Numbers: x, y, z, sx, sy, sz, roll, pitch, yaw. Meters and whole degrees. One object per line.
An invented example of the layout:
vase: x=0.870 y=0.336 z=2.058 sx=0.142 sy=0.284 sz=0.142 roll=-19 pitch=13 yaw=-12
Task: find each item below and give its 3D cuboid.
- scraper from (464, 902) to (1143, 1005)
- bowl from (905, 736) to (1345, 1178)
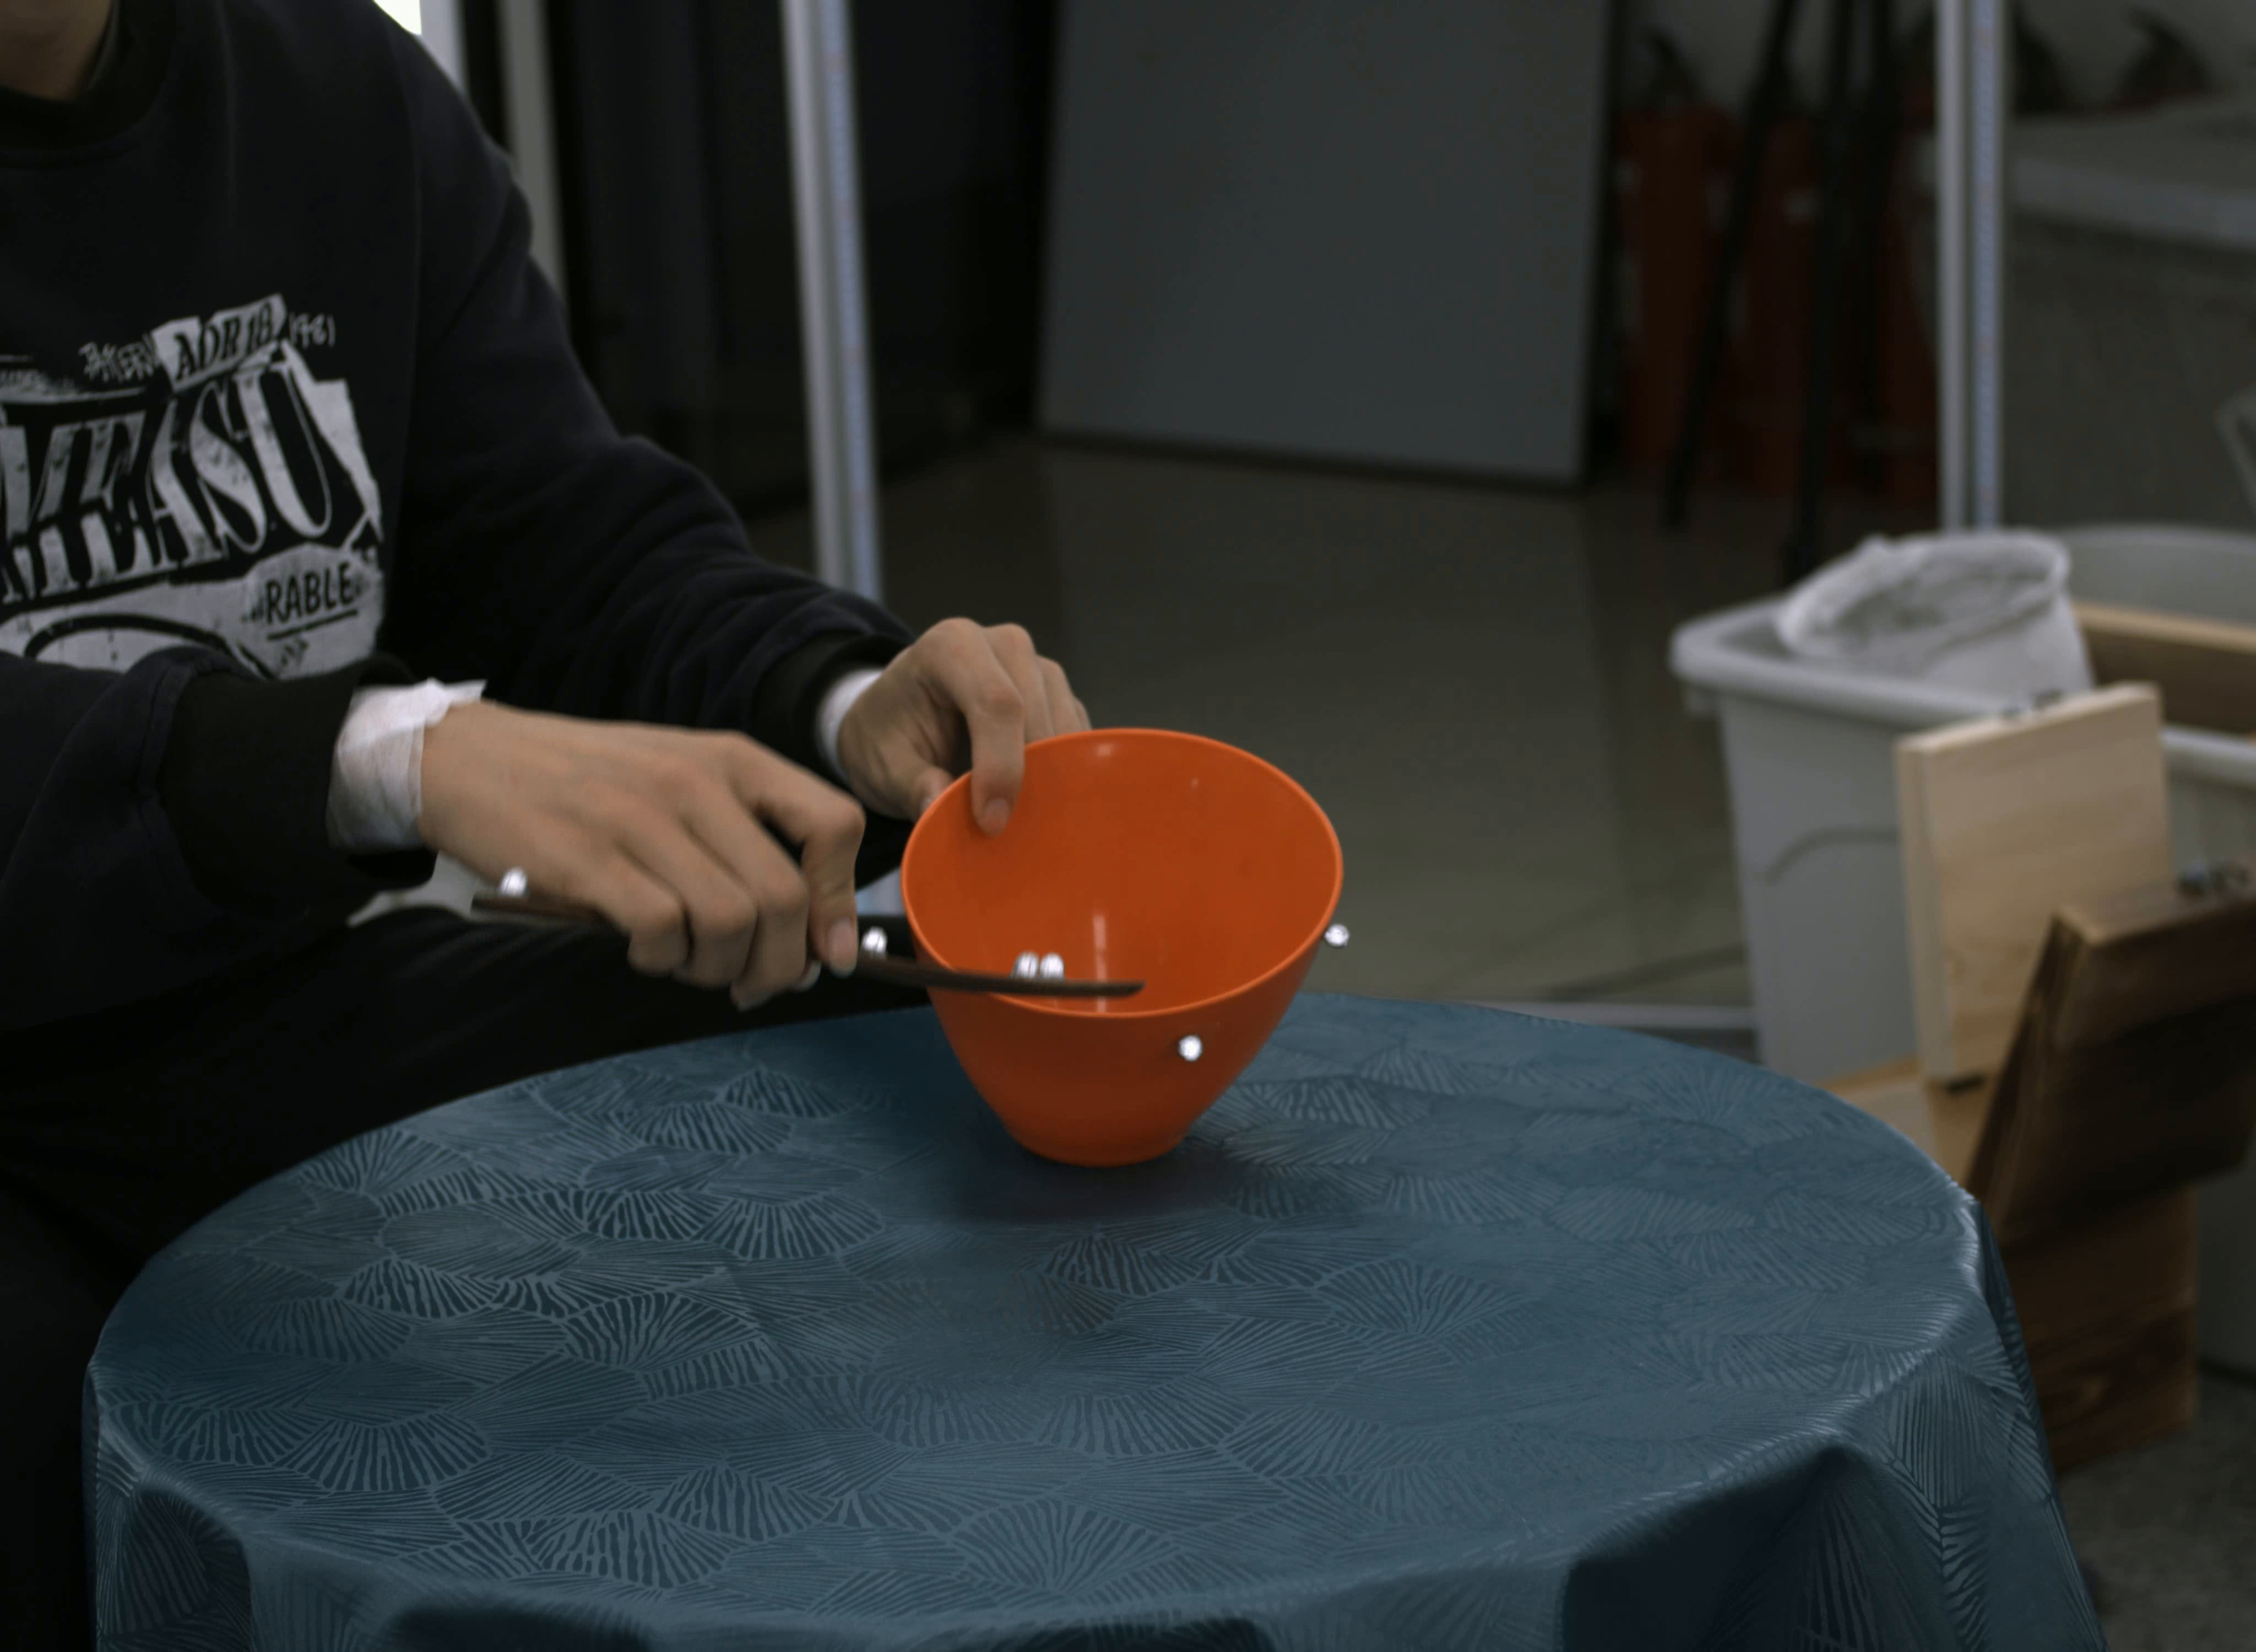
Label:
scraper: x=-0.100 y=0.040 z=1.646 sx=0.207 sy=0.011 sz=0.076 roll=9 pitch=-5 yaw=-19
bowl: x=-0.003 y=0.051 z=1.808 sx=0.146 sy=0.105 sz=0.149 roll=2 pitch=30 yaw=-2
